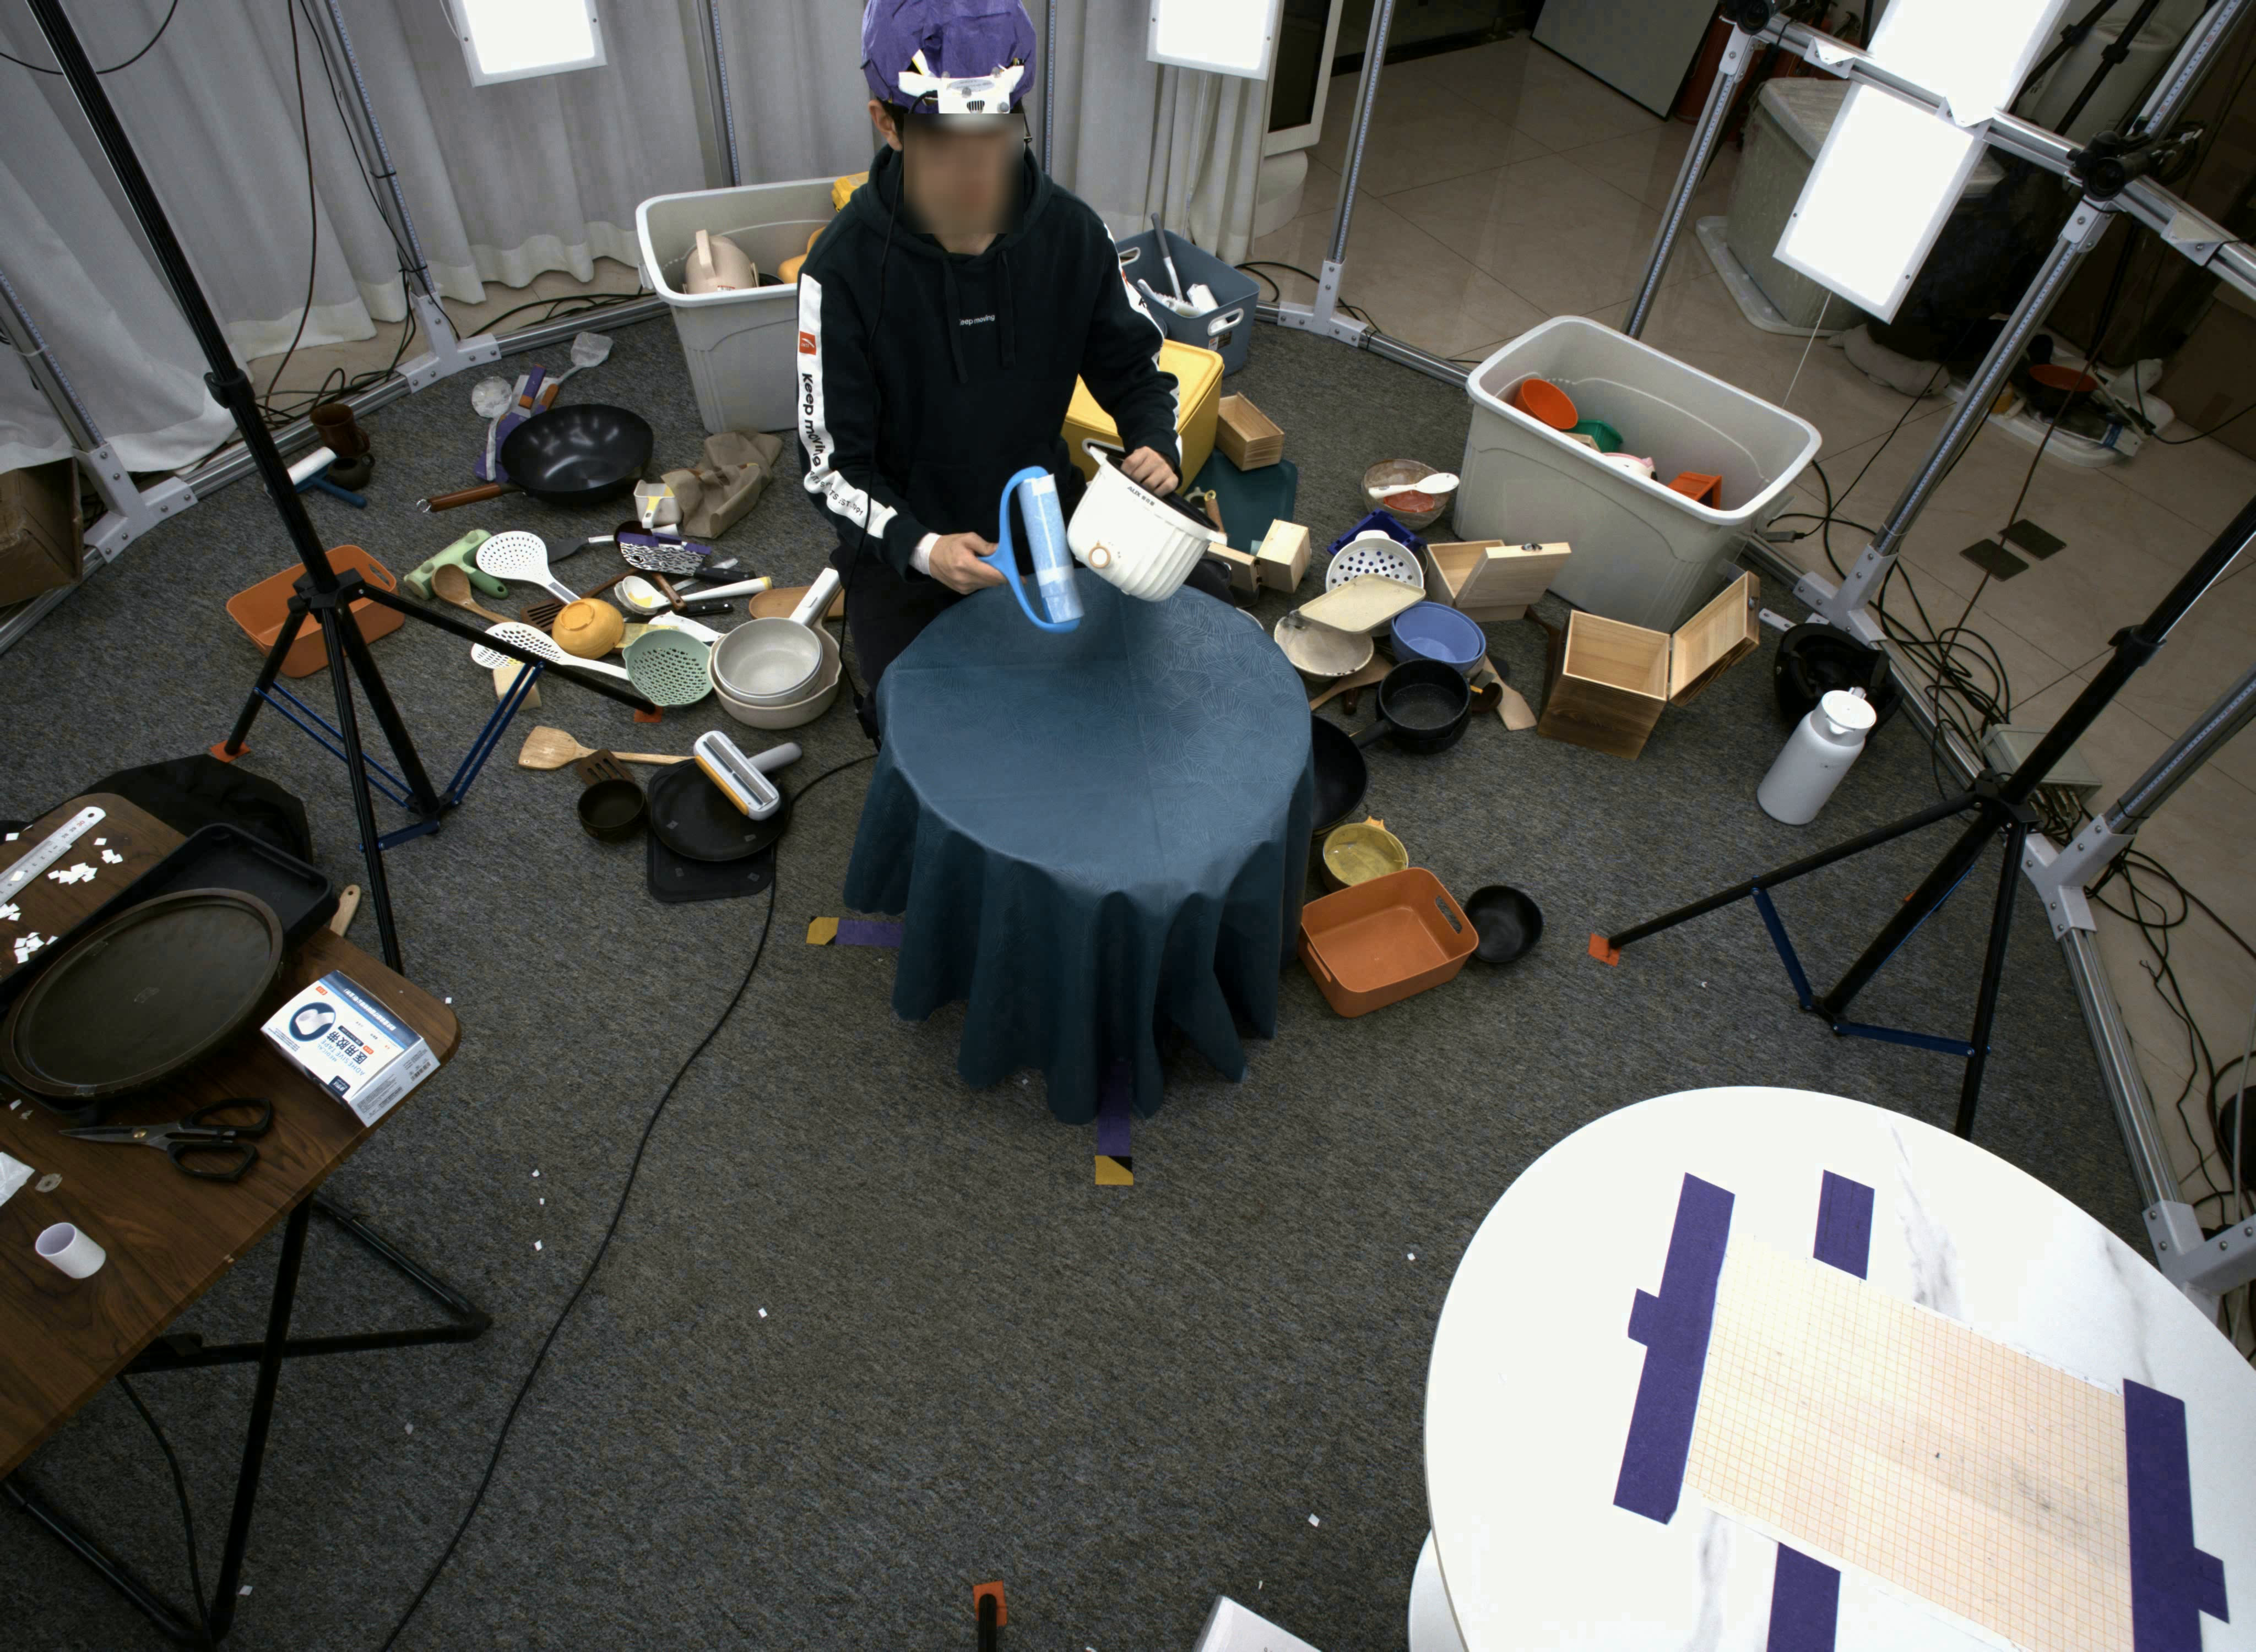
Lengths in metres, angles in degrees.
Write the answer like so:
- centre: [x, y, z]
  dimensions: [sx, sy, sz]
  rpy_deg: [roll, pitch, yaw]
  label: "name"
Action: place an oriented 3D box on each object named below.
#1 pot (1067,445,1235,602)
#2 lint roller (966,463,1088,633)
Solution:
- centre: [0.012, -0.395, 1.747]
  dimensions: [0.242, 0.141, 0.191]
  rpy_deg: [35, 14, 9]
  label: "pot"
- centre: [-0.157, -0.367, 1.777]
  dimensions: [0.180, 0.227, 0.068]
  rpy_deg: [-11, 12, 25]
  label: "lint roller"
